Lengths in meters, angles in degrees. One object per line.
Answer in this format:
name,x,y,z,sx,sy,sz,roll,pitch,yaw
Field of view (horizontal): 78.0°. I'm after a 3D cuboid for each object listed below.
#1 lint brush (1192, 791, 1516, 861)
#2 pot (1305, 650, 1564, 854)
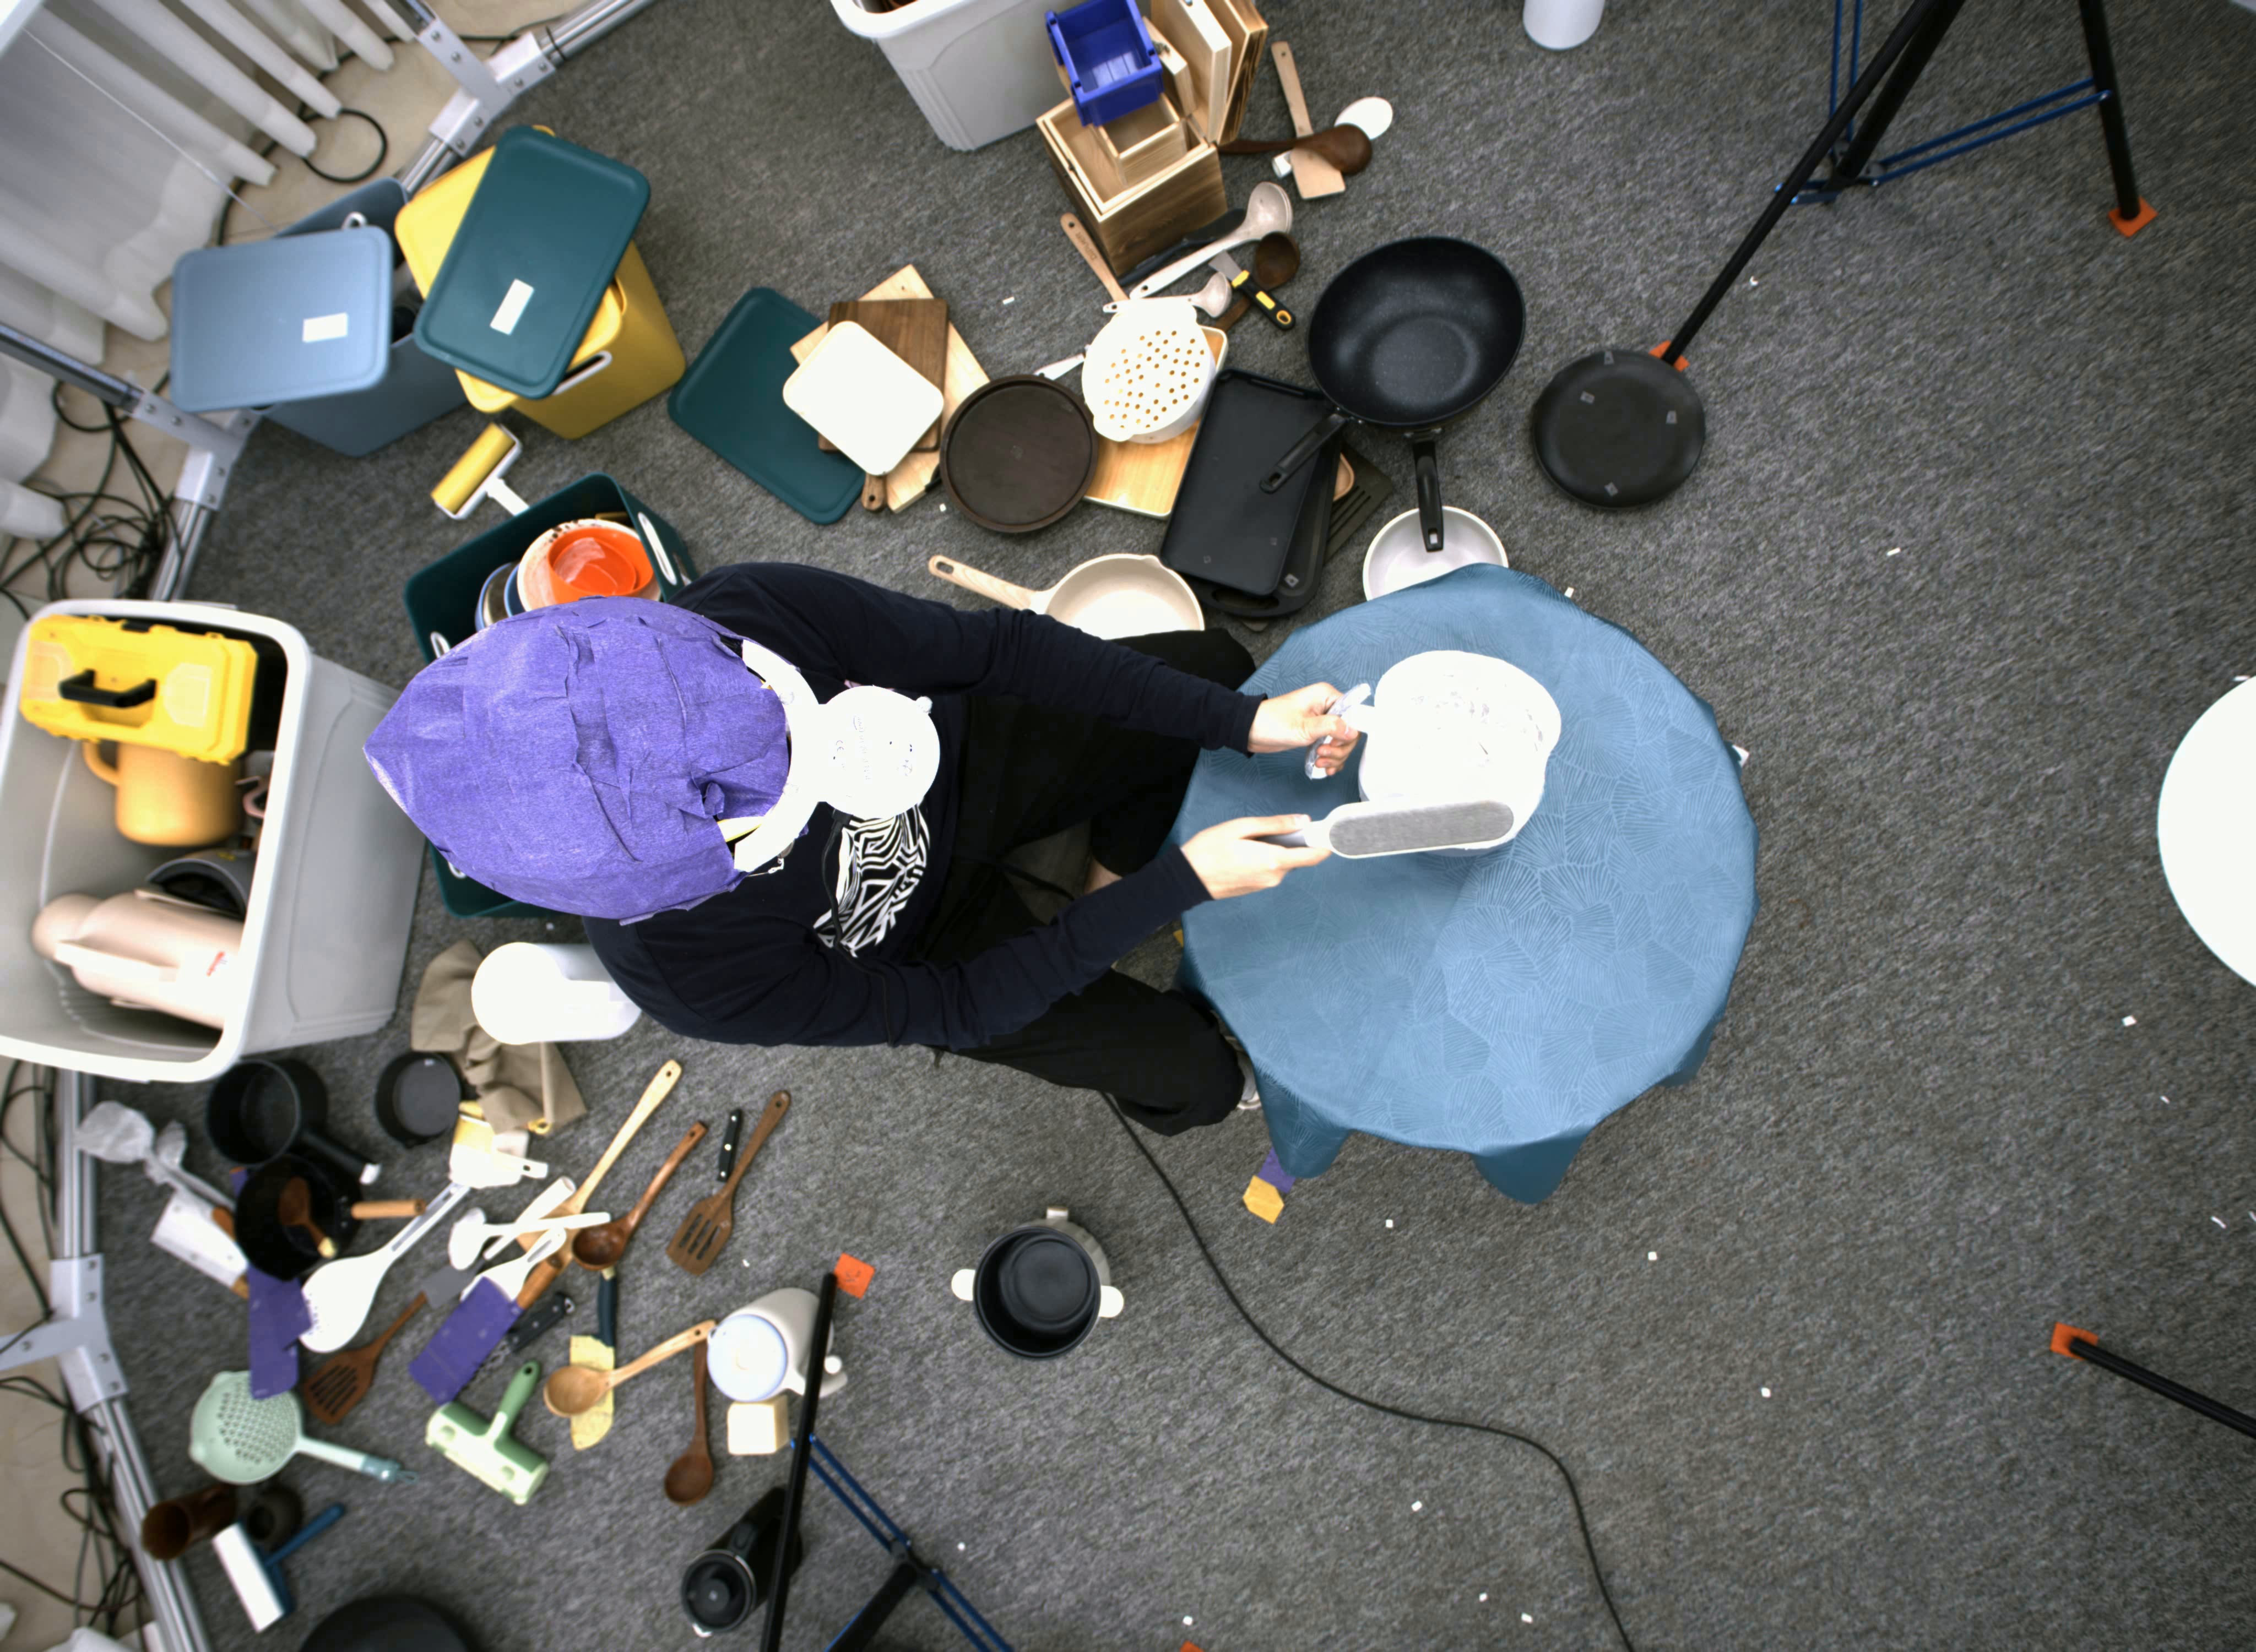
lint brush,0.210,0.004,1.309,0.311,0.061,0.020,-7,42,16
pot,0.295,-0.077,1.353,0.234,0.140,0.174,11,44,6
